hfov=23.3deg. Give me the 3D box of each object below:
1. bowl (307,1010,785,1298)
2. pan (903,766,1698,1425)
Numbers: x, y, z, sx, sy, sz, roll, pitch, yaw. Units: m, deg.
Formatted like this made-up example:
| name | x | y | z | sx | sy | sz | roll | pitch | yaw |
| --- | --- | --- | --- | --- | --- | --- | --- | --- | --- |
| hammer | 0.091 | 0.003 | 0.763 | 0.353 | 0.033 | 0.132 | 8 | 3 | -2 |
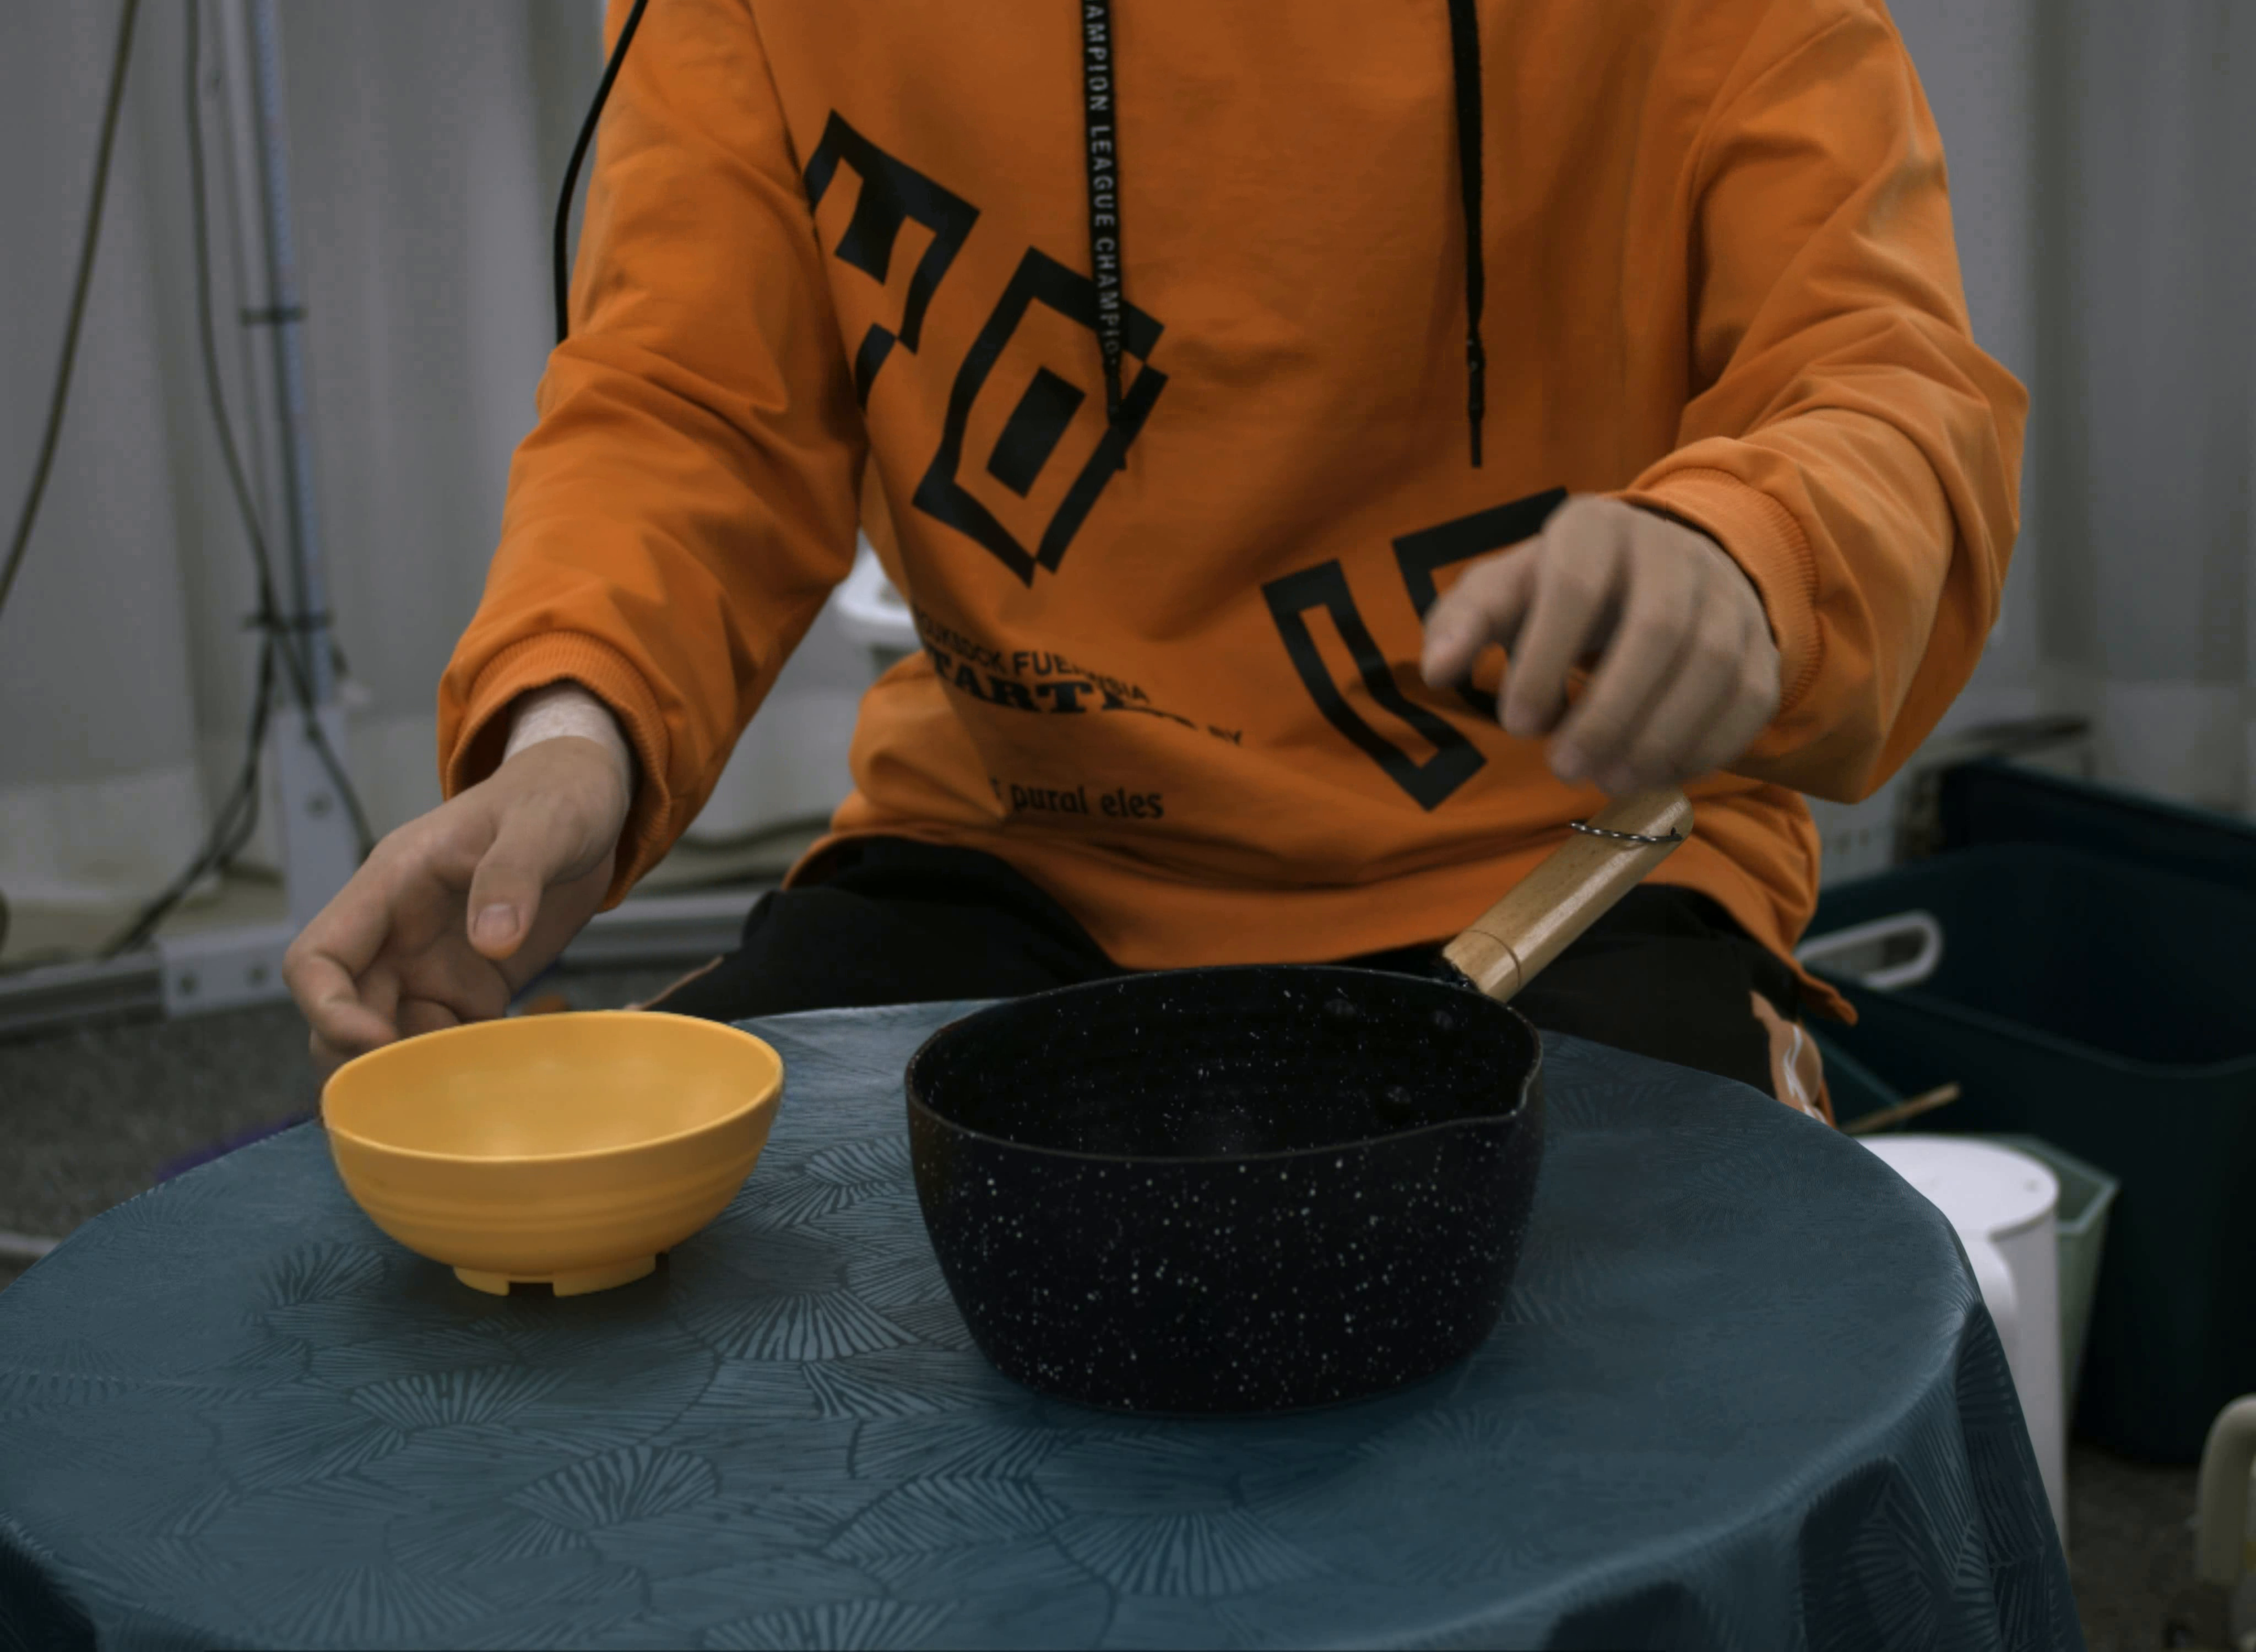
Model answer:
| name | x | y | z | sx | sy | sz | roll | pitch | yaw |
| --- | --- | --- | --- | --- | --- | --- | --- | --- | --- |
| bowl | -0.176 | 0.106 | 1.672 | 0.145 | 0.060 | 0.146 | -2 | 15 | 0 |
| pan | 0.075 | 0.076 | 1.638 | 0.208 | 0.108 | 0.343 | 6 | 19 | 35 |
